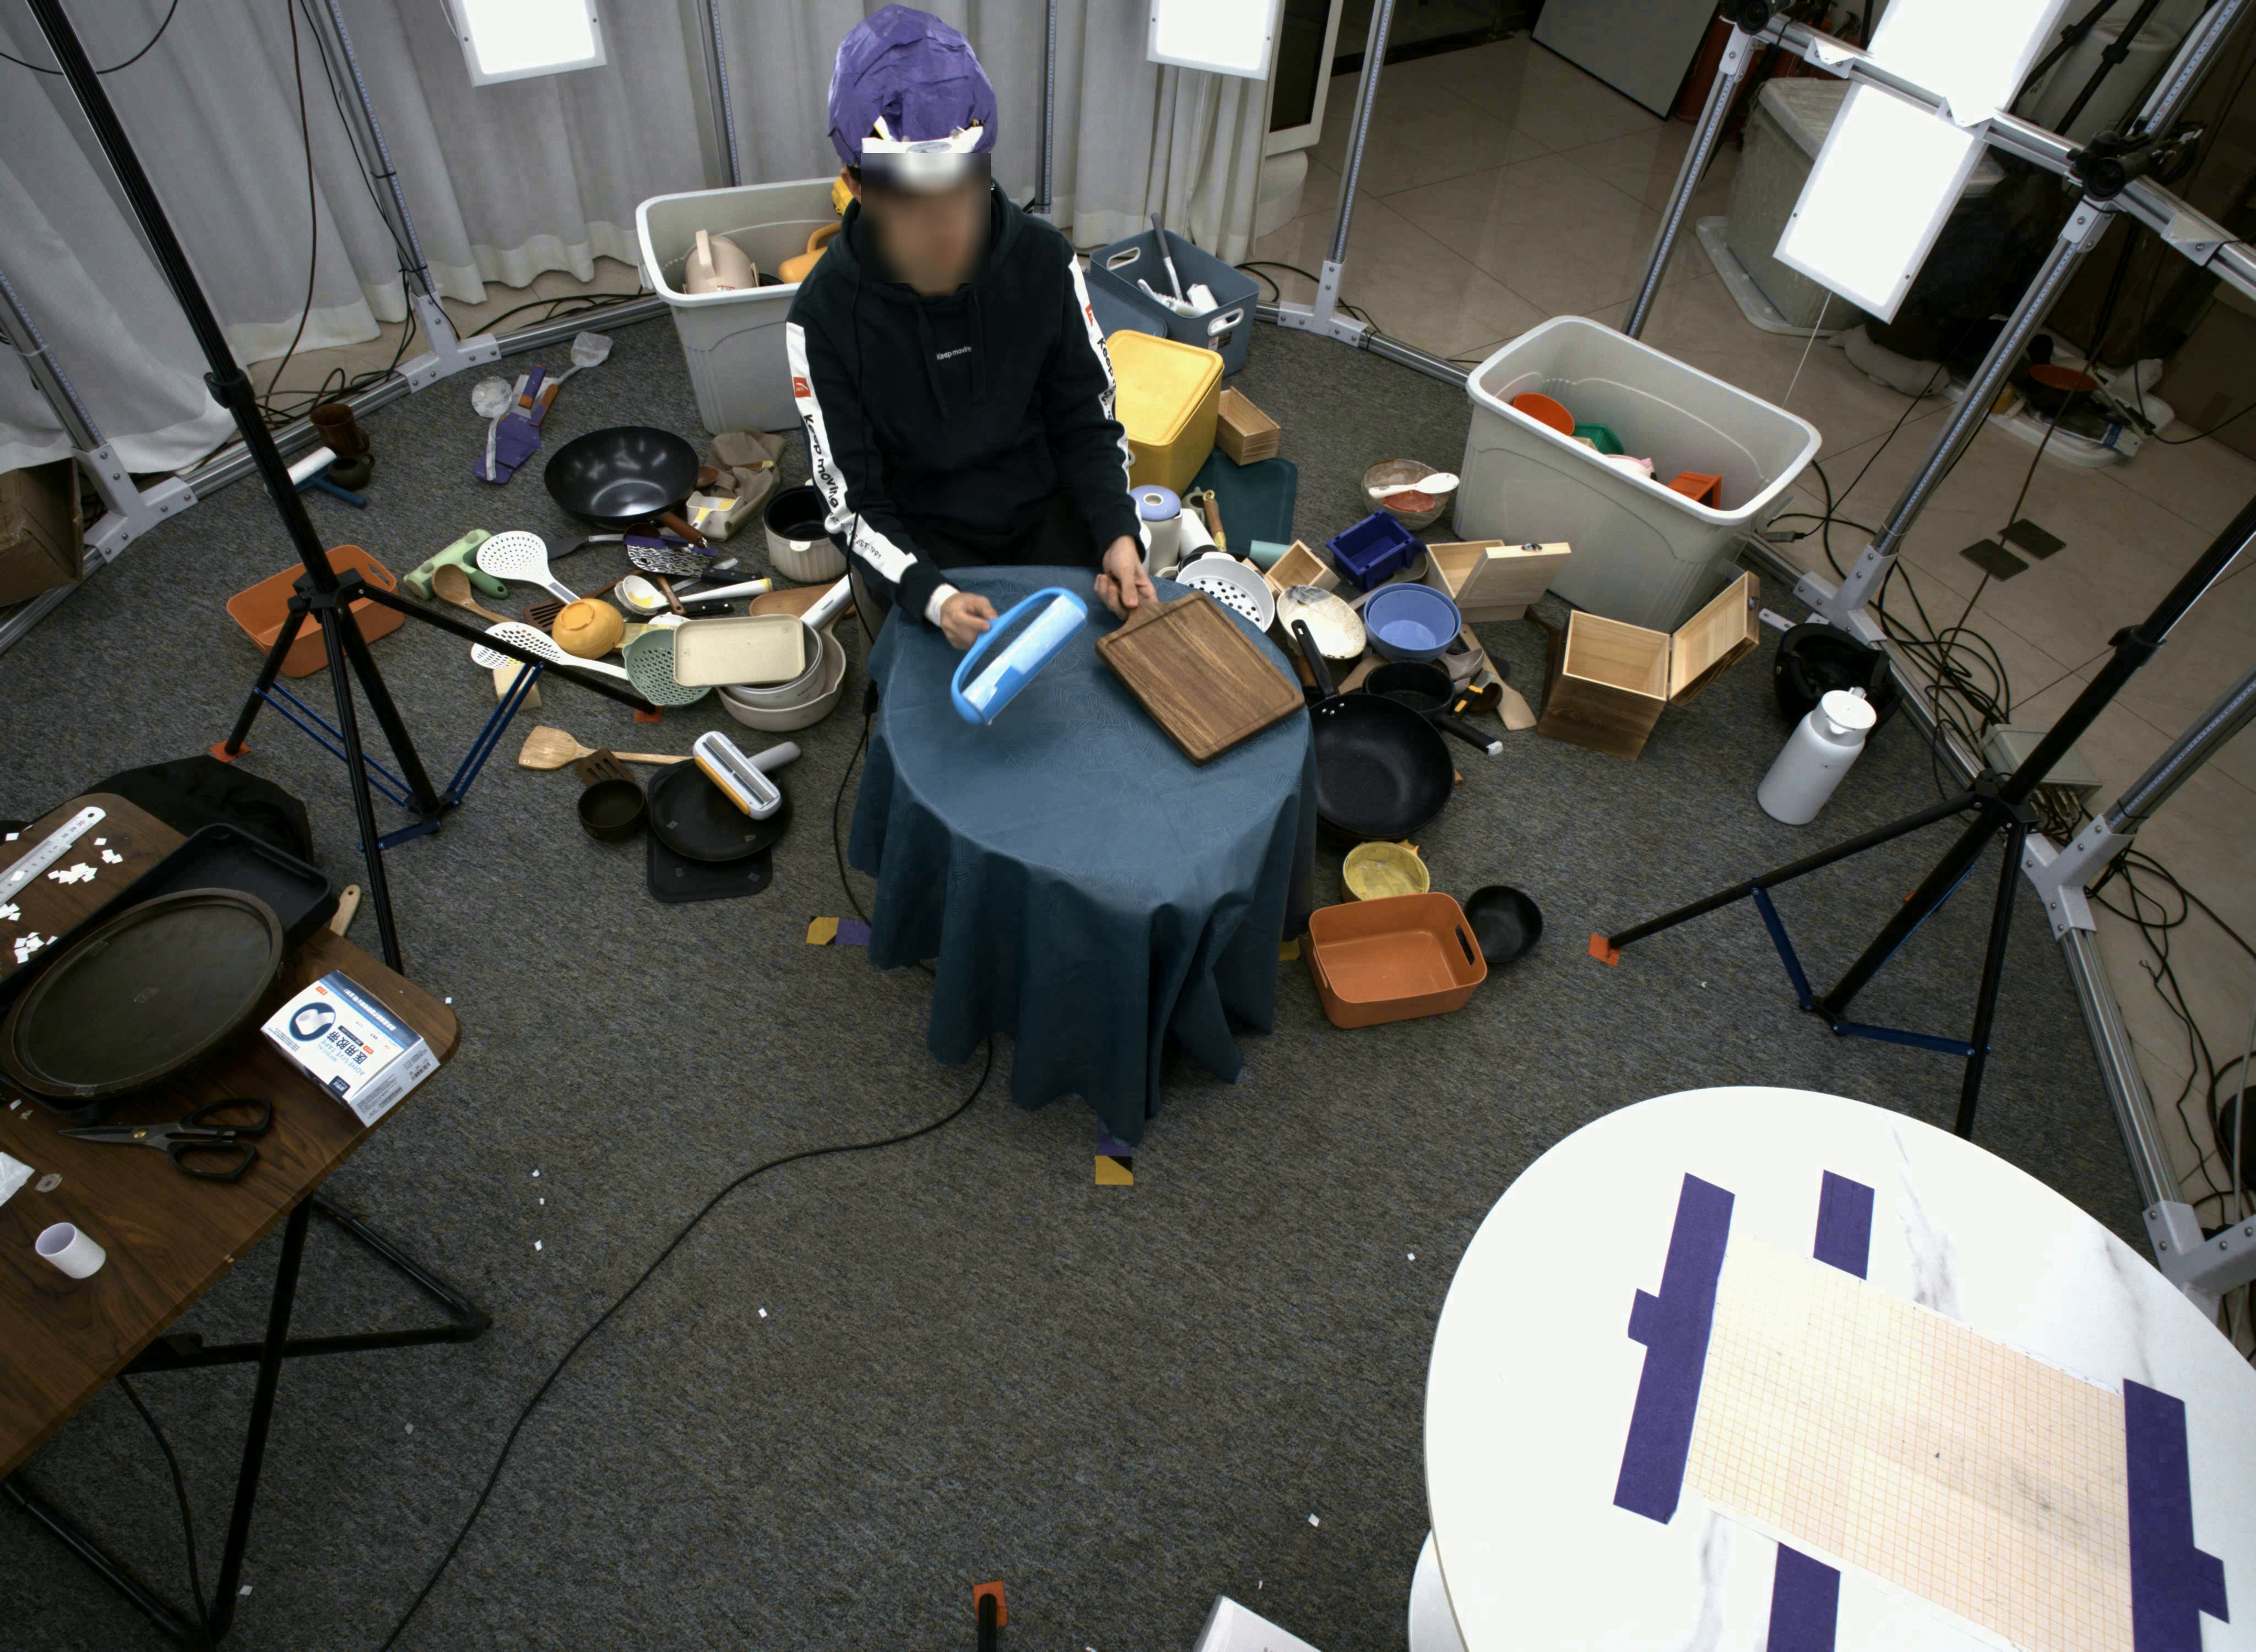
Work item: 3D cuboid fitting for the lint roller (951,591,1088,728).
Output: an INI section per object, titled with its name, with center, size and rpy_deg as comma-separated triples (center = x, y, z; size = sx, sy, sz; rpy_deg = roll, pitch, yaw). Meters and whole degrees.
[lint roller]
center = -0.178, -0.245, 1.758
size = 0.183, 0.066, 0.230
rpy_deg = 33, 76, 40

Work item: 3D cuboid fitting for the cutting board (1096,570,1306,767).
[cutting board]
center = 0.074, -0.250, 1.847
size = 0.202, 0.023, 0.358
rpy_deg = -28, 63, -23
